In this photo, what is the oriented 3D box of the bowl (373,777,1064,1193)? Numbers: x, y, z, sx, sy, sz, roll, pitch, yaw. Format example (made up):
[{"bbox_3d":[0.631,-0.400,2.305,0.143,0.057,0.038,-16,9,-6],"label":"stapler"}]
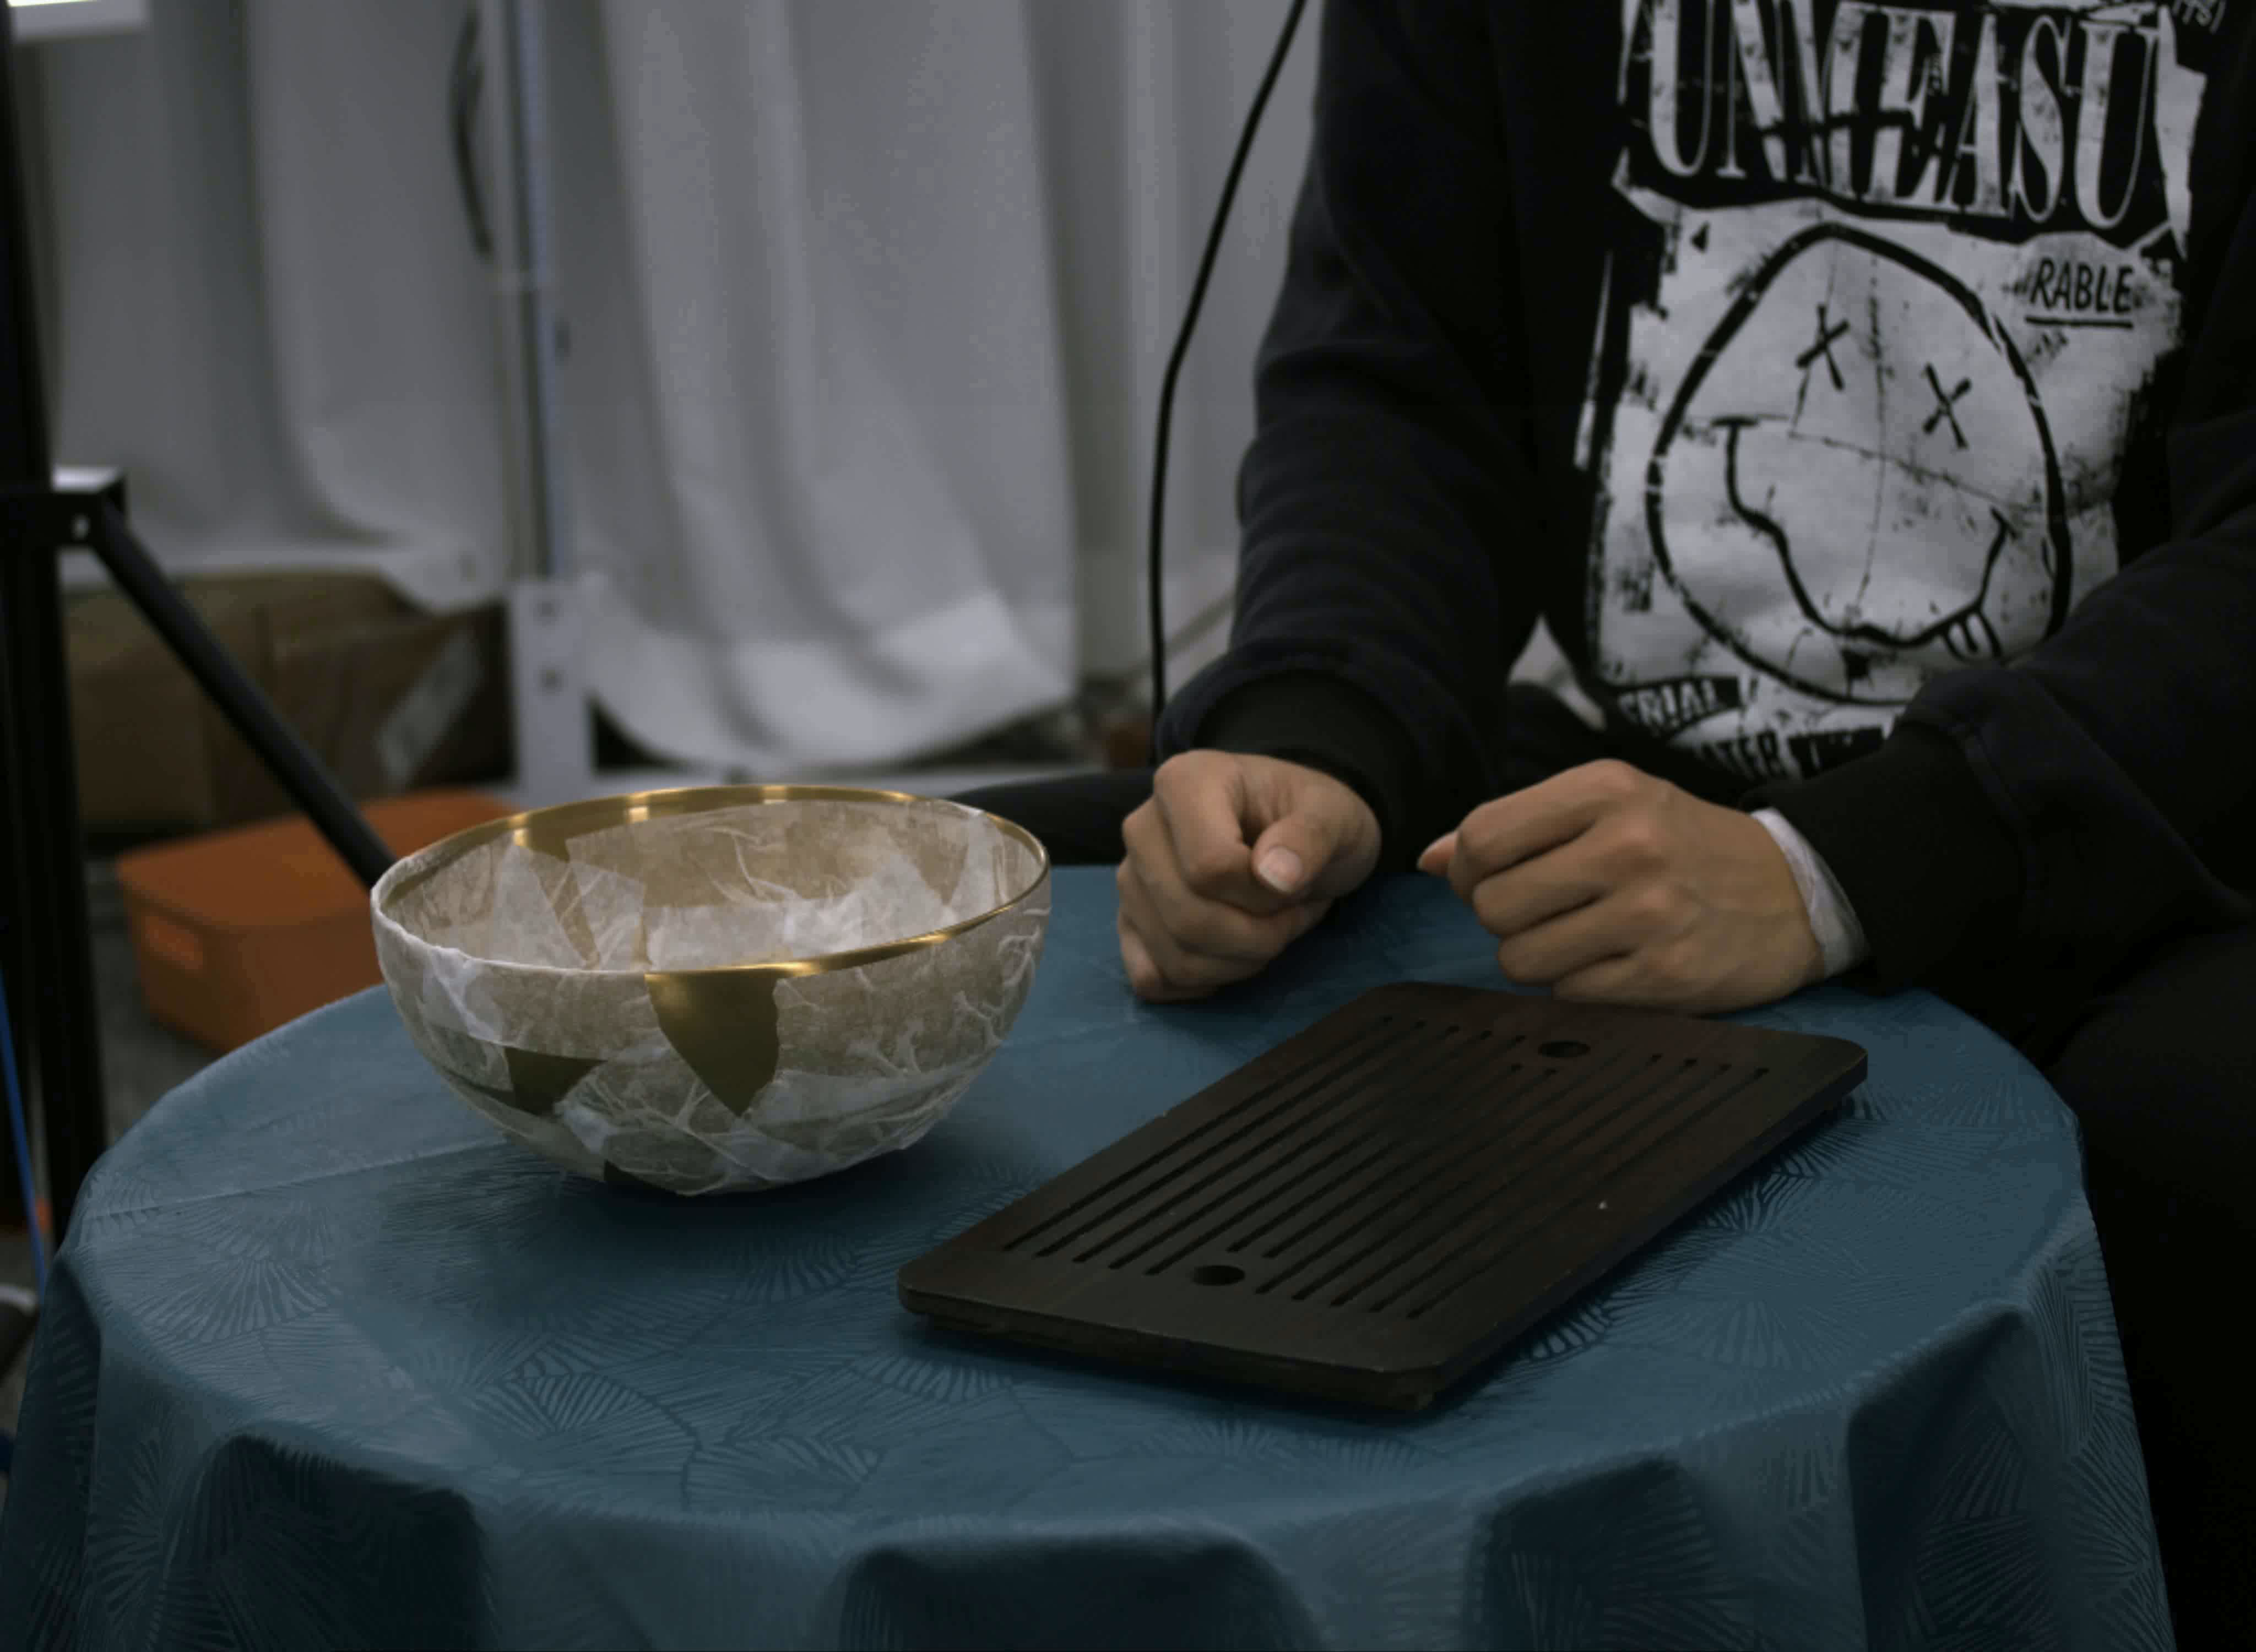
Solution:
[{"bbox_3d":[-0.117,0.056,1.593,0.213,0.094,0.216,-3,15,-1],"label":"bowl"}]

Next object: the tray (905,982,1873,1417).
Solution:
[{"bbox_3d":[0.082,0.104,1.526,0.173,0.018,0.300,7,18,31],"label":"tray"}]
